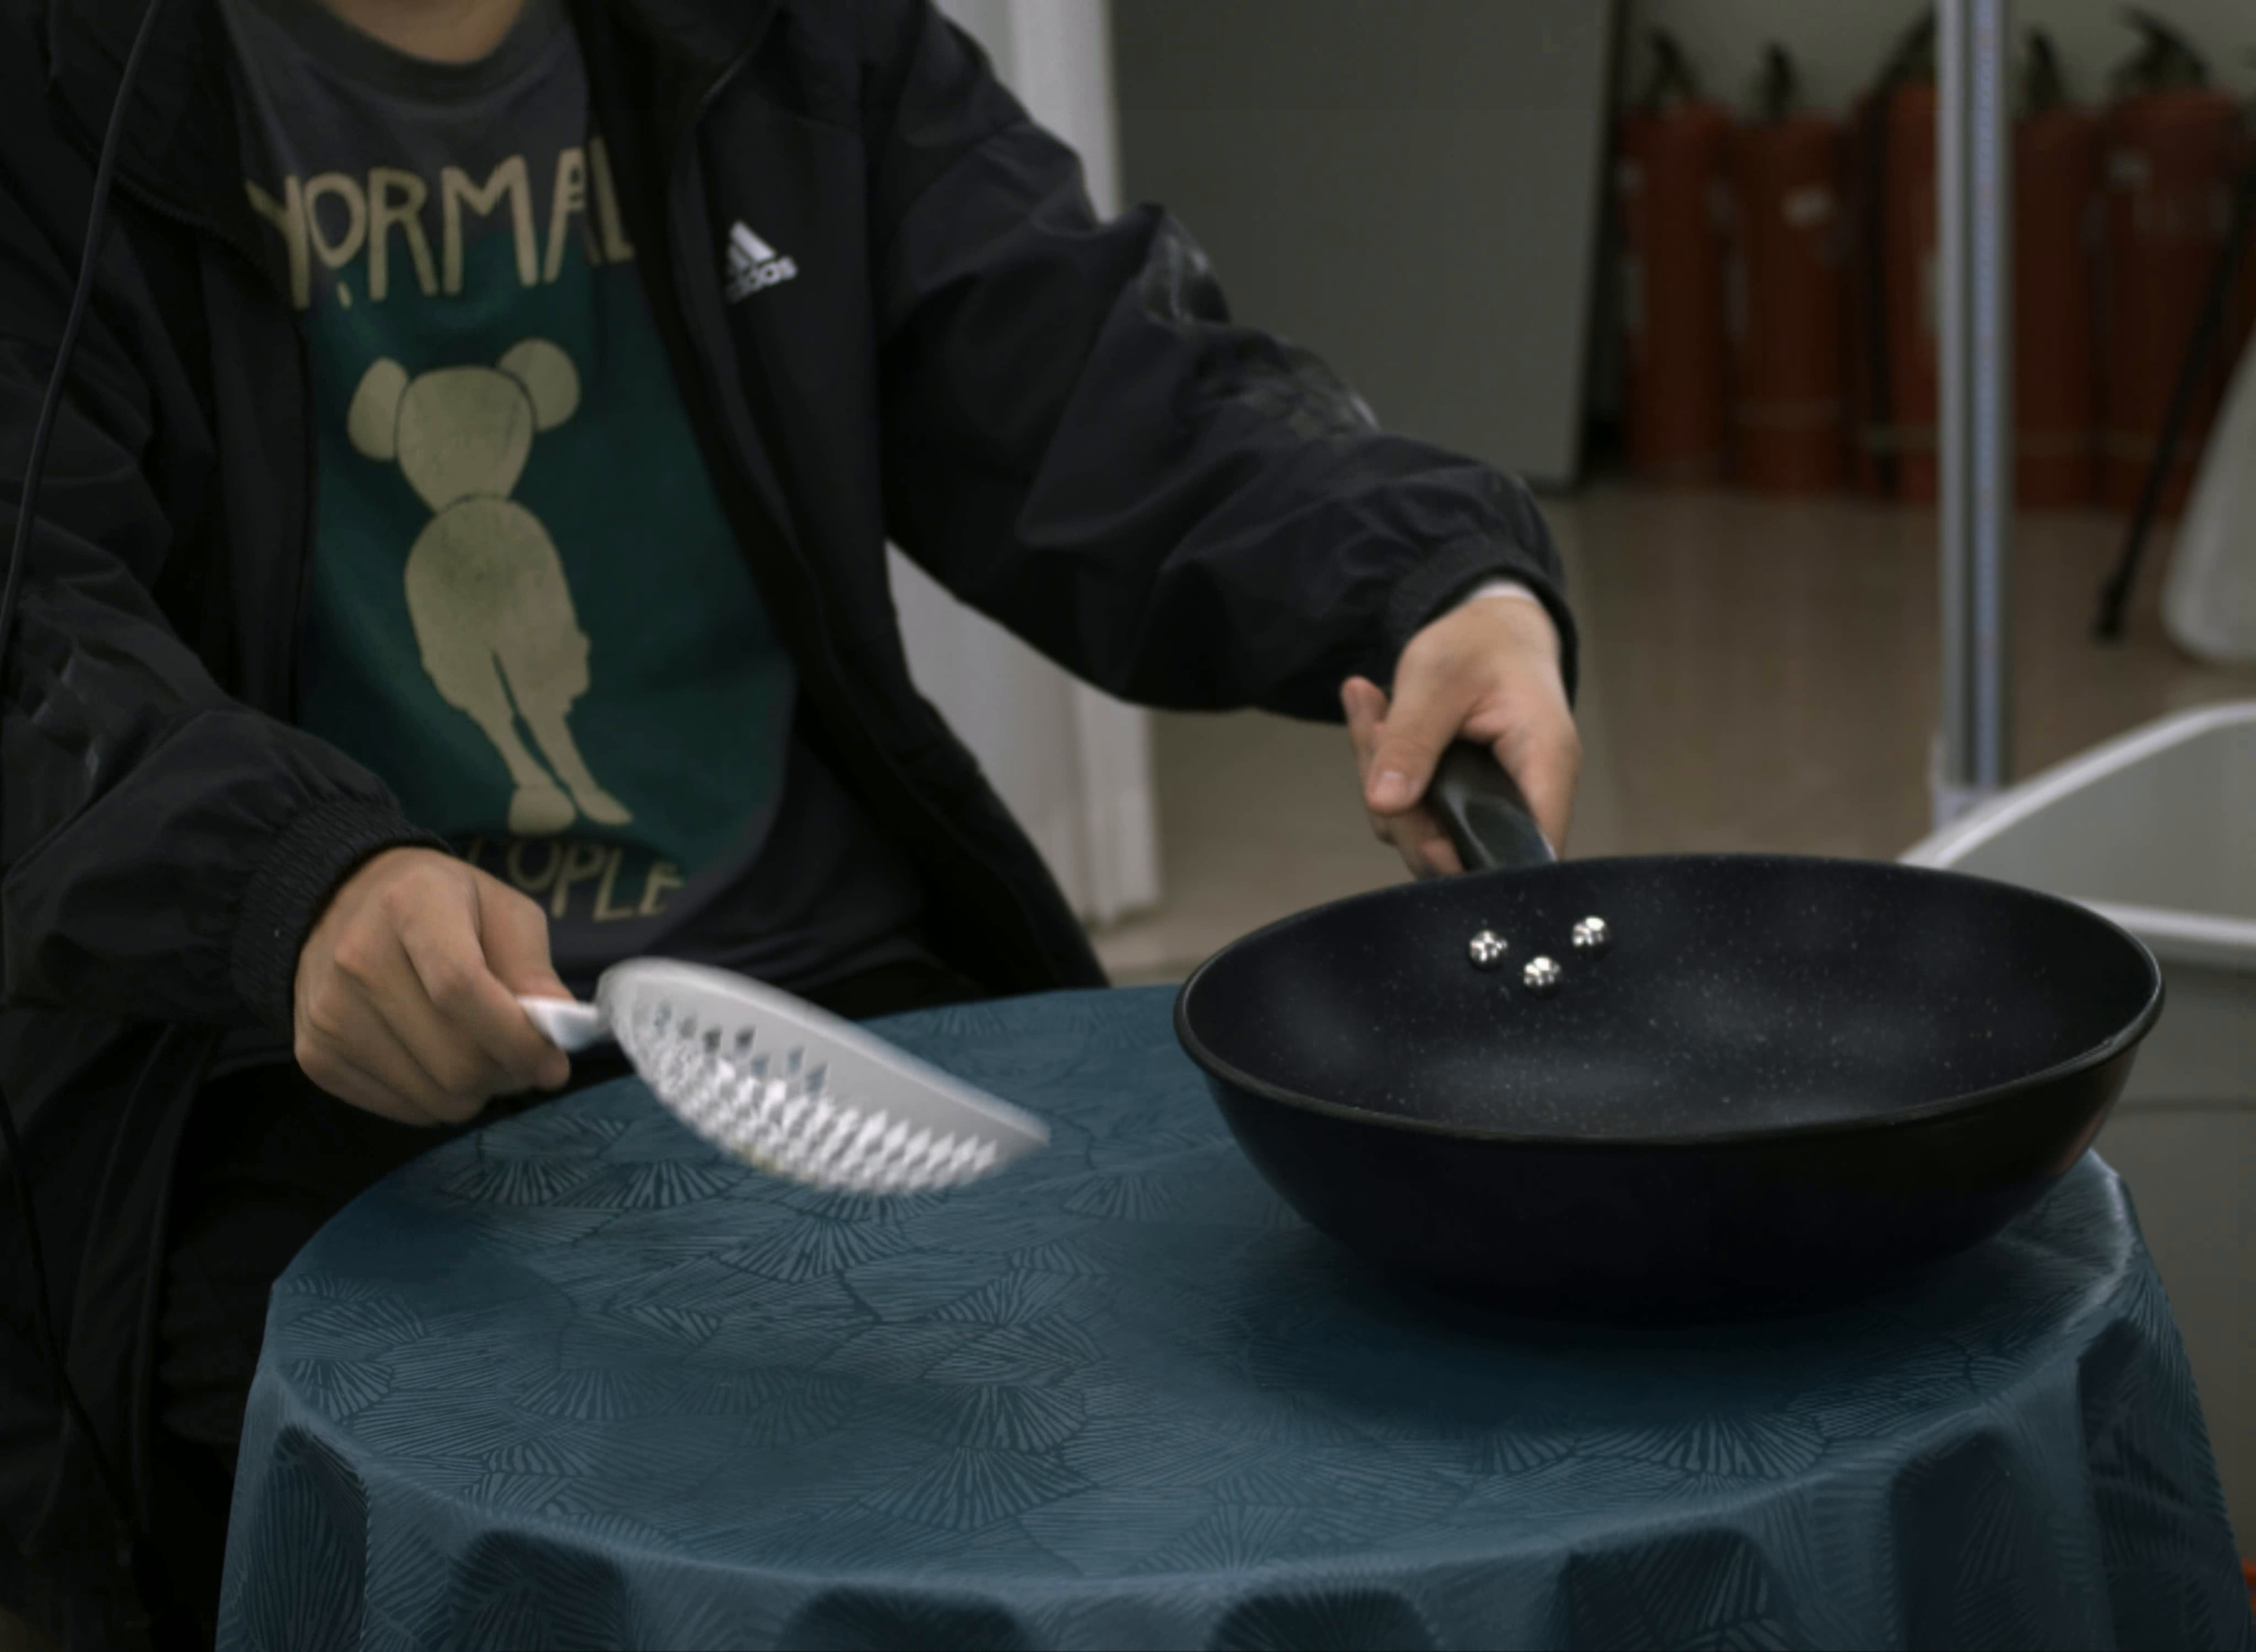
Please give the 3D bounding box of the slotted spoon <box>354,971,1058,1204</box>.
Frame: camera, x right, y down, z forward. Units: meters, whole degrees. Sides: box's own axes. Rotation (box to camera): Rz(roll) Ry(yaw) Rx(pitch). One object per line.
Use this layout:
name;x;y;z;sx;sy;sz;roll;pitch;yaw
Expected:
slotted spoon;-0.149;0.078;1.665;0.134;0.051;0.351;26;-9;-30

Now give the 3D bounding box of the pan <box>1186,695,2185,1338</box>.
pan;0.154;0.061;1.748;0.305;0.113;0.480;-5;14;-10
